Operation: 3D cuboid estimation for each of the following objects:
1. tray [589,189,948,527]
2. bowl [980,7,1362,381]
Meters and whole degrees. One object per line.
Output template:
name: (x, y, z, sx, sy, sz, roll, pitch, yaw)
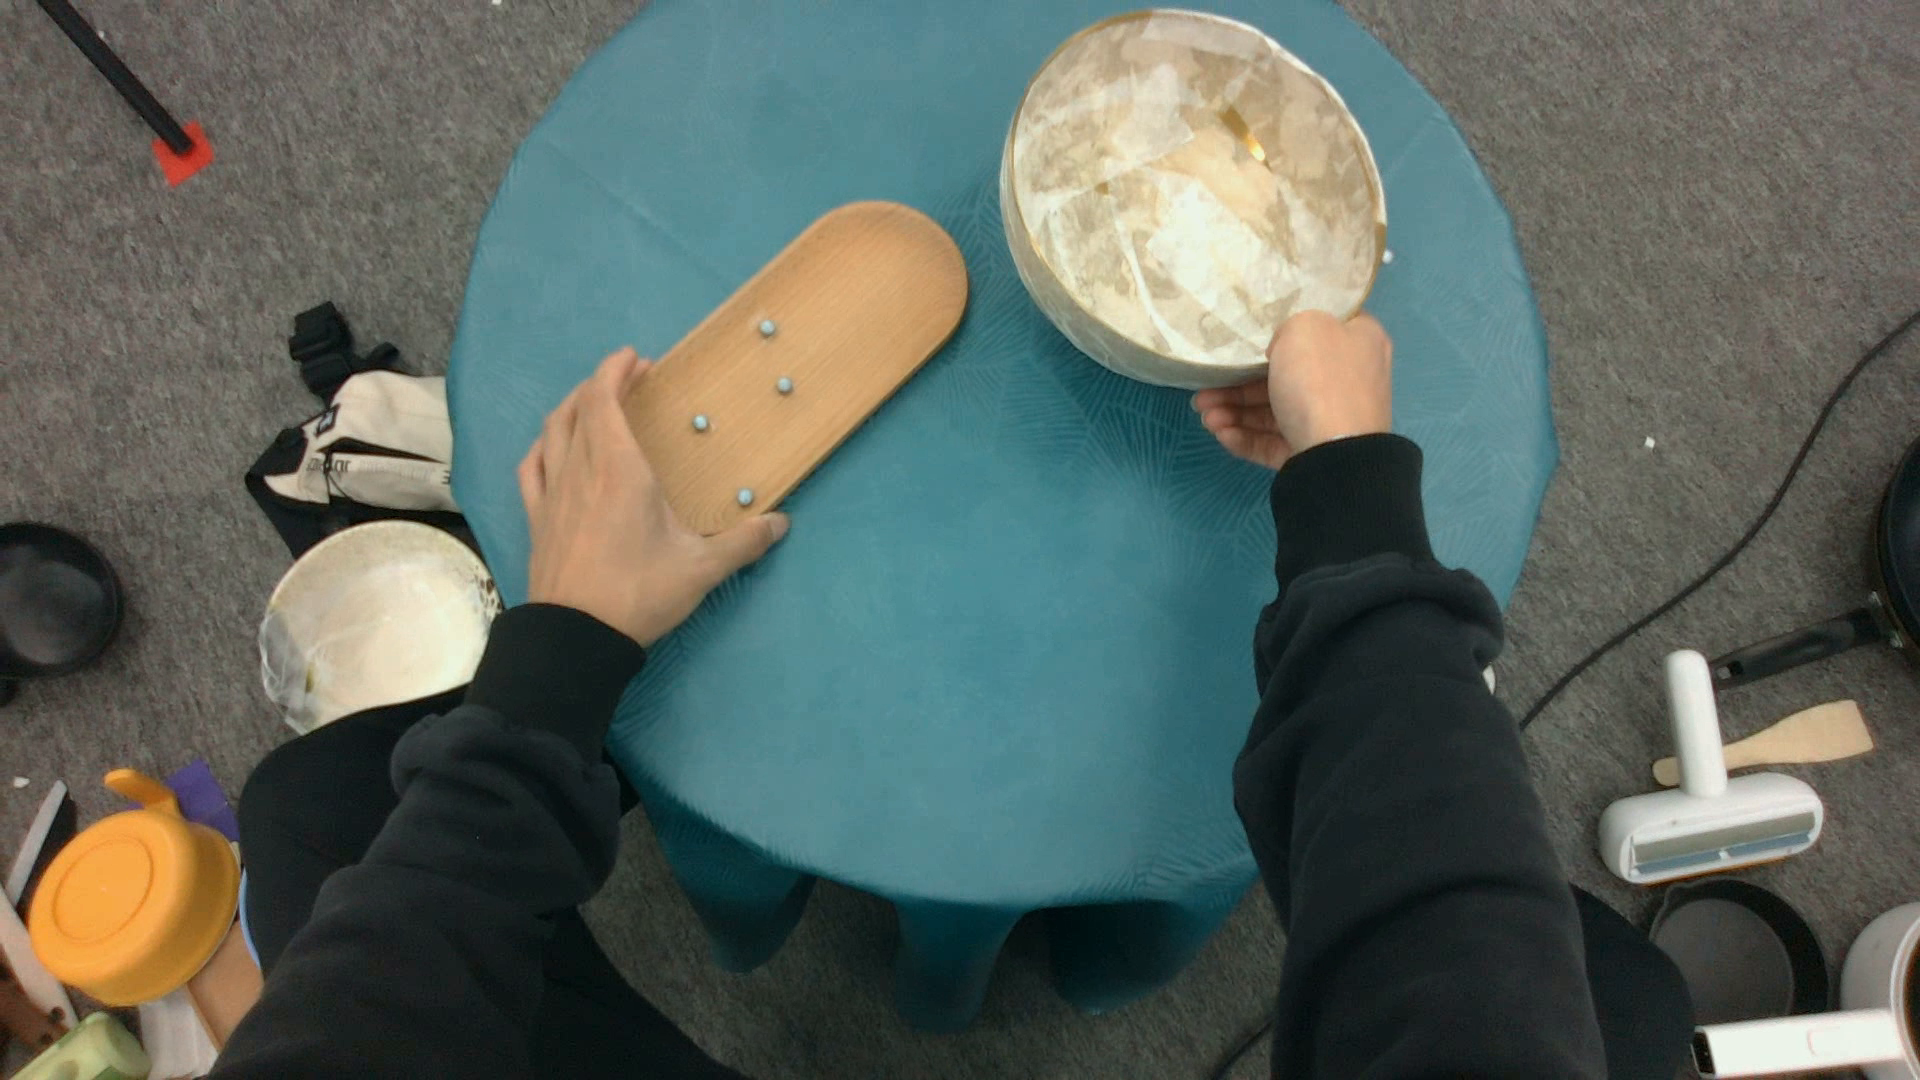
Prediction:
tray: (-0.100, -0.100, 0.743, 0.102, 0.020, 0.232, 40, 73, 9)
bowl: (0.096, -0.167, 0.727, 0.215, 0.094, 0.215, 5, 71, -15)
